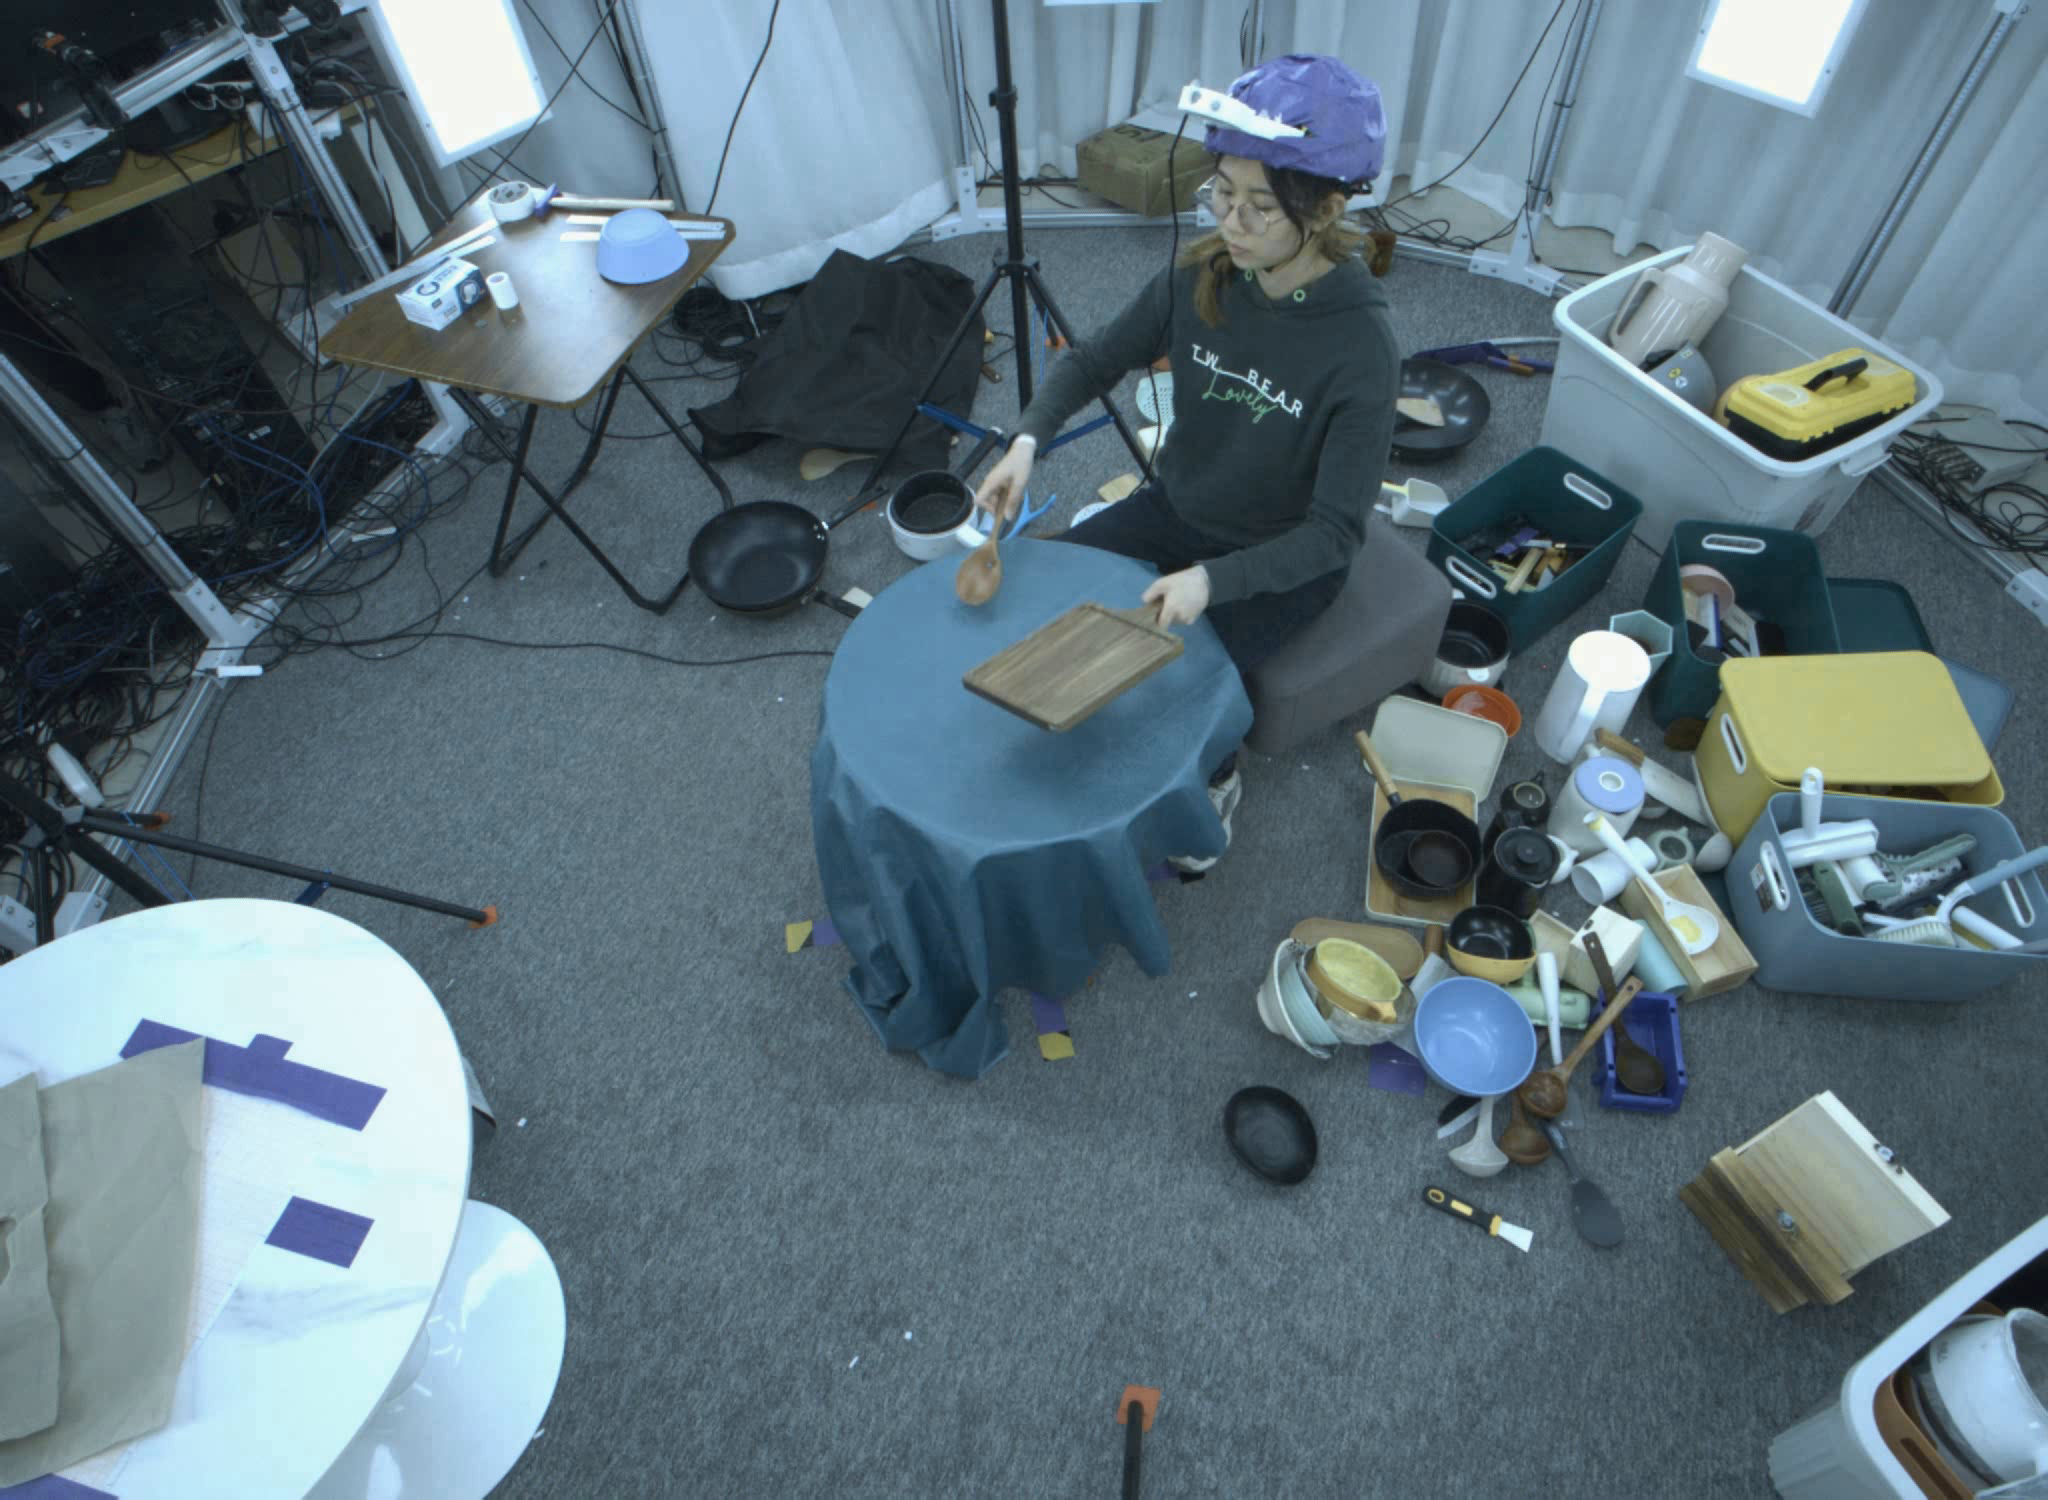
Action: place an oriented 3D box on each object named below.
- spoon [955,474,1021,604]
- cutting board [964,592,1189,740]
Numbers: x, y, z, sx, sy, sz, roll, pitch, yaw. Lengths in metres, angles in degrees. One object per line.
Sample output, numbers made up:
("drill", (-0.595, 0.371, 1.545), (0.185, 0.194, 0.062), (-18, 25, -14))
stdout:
("spoon", (-0.050, -0.332, 1.924), (0.075, 0.017, 0.216), (19, 90, 12))
("cutting board", (0.107, -0.135, 1.714), (0.356, 0.023, 0.196), (-34, 43, -30))
